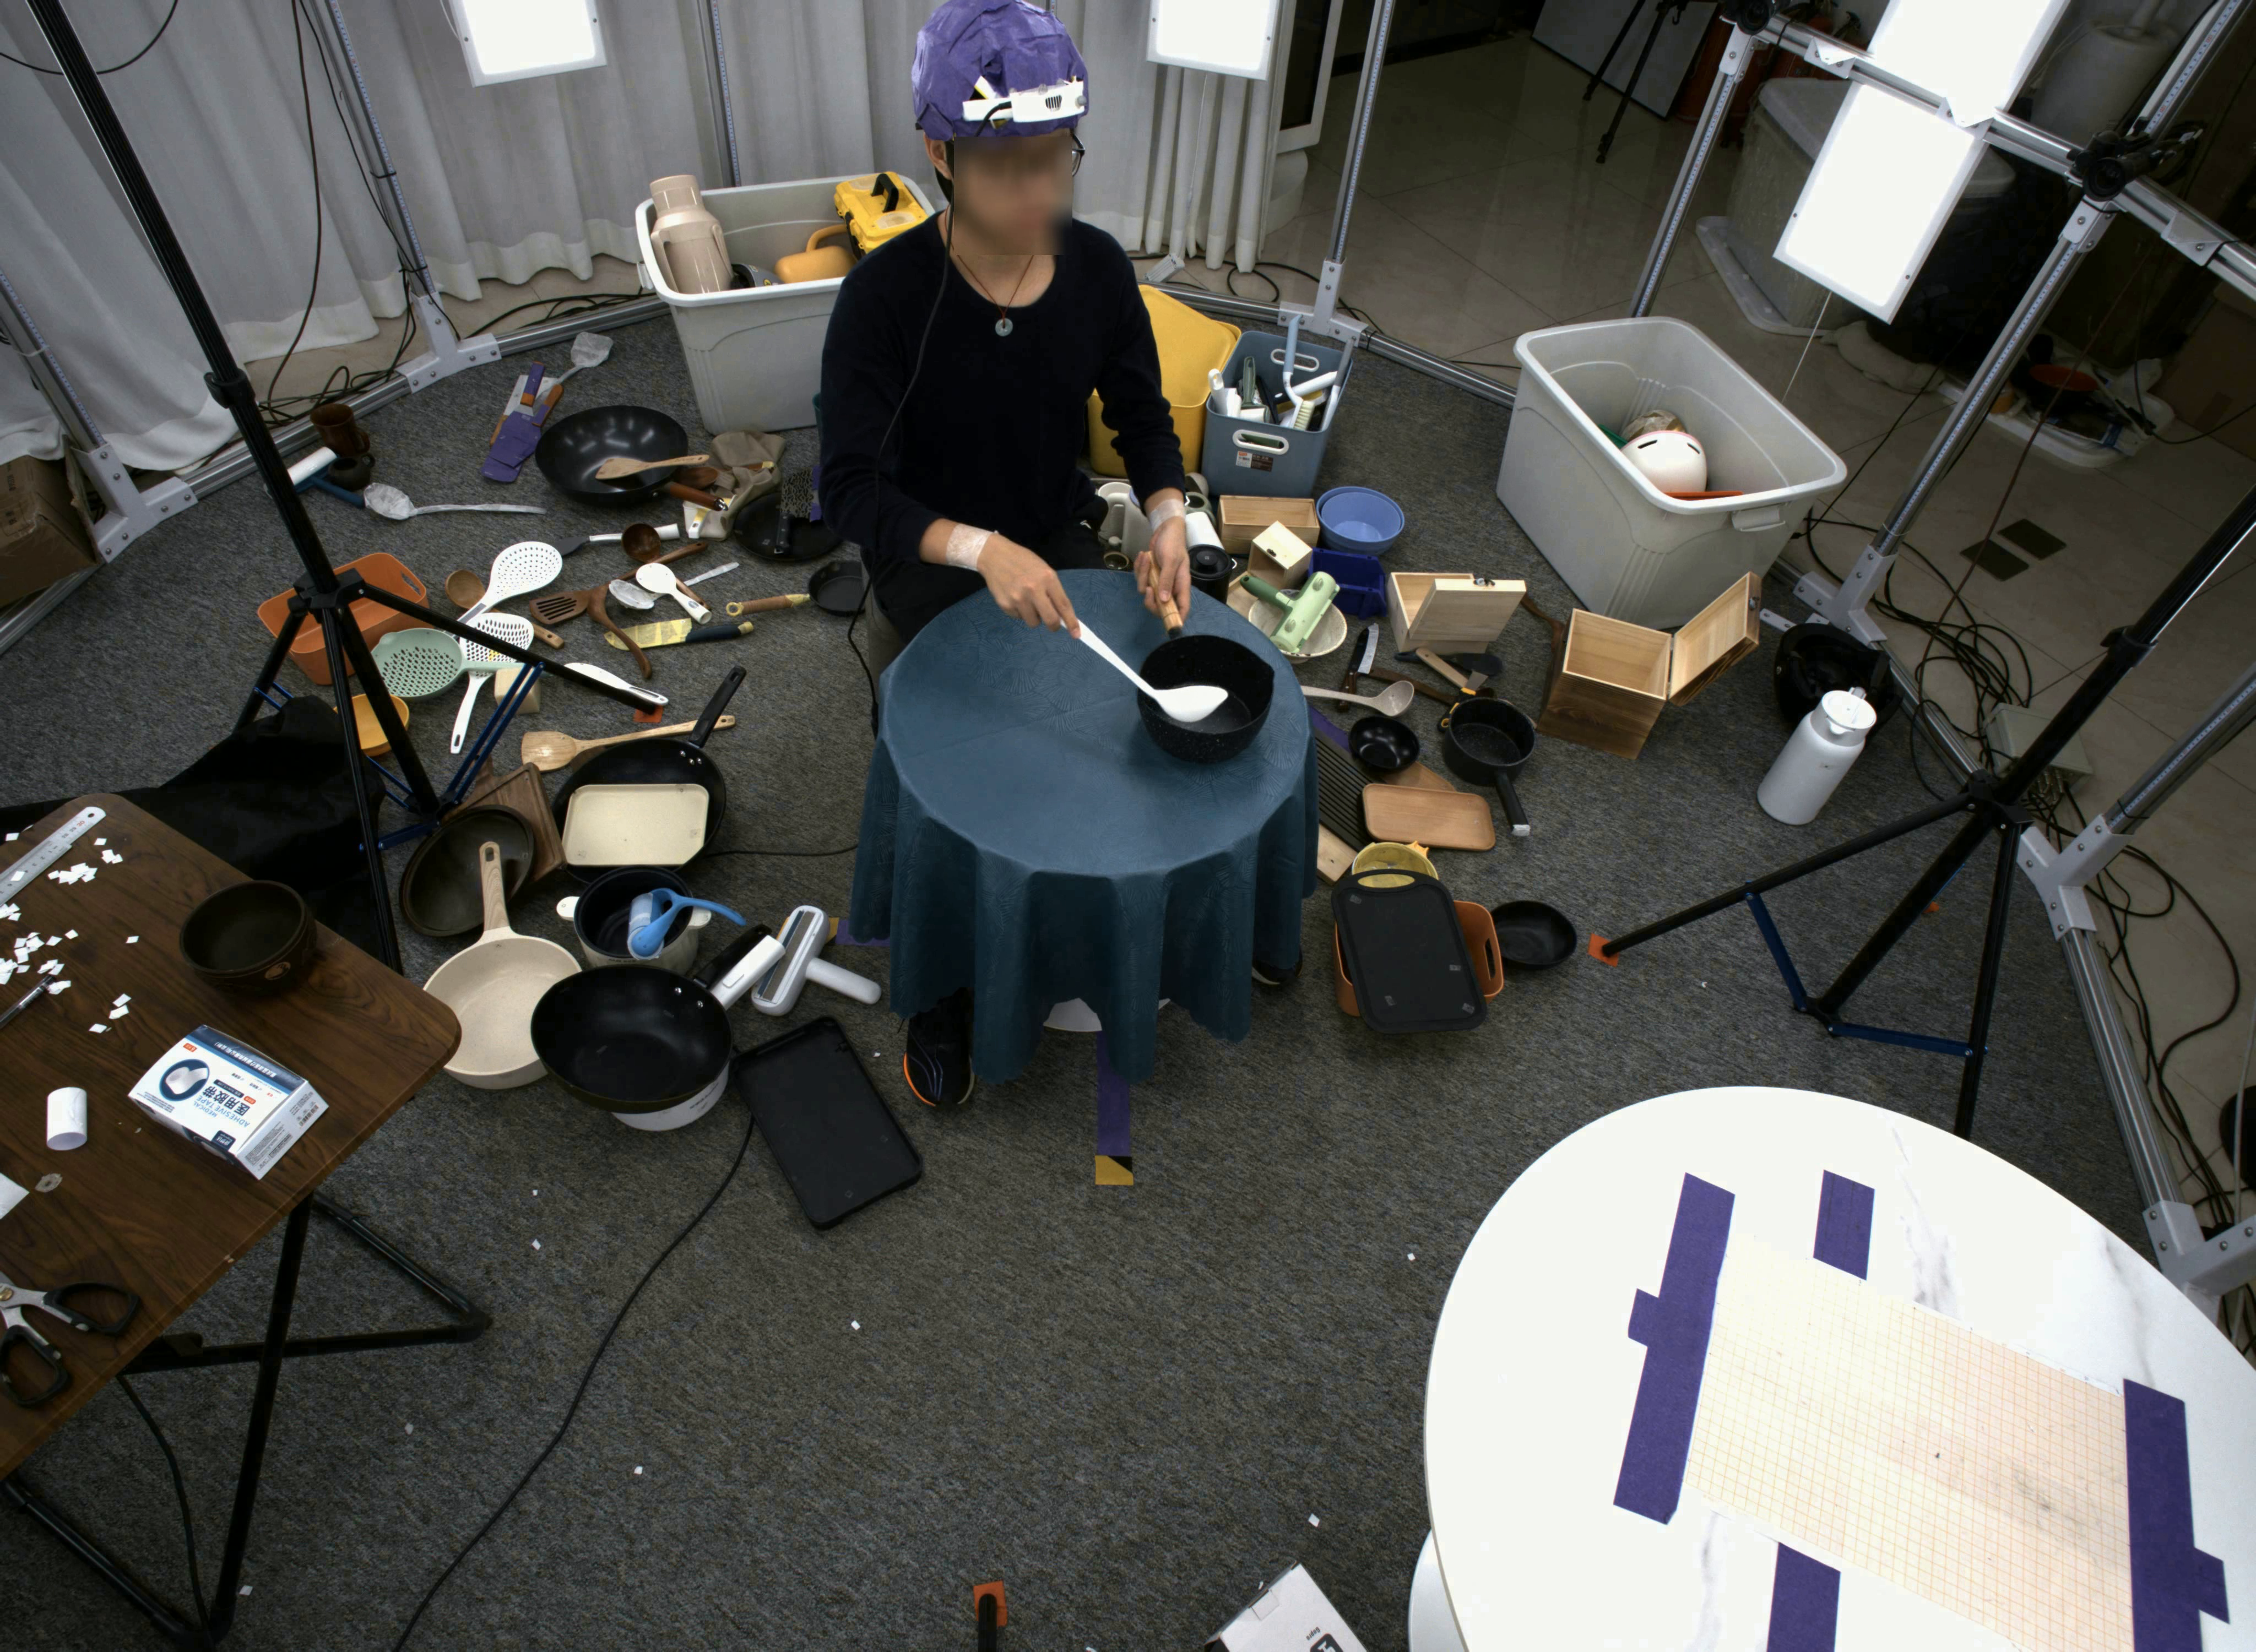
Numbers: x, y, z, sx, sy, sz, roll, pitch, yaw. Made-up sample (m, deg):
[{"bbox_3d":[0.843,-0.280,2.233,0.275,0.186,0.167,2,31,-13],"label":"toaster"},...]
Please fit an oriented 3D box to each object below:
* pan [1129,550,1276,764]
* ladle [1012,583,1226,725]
[{"bbox_3d":[0.076,-0.237,1.803,0.207,0.105,0.351,-14,55,-13],"label":"pan"},{"bbox_3d":[-0.013,-0.225,1.634,0.293,0.069,0.091,37,34,2],"label":"ladle"}]
